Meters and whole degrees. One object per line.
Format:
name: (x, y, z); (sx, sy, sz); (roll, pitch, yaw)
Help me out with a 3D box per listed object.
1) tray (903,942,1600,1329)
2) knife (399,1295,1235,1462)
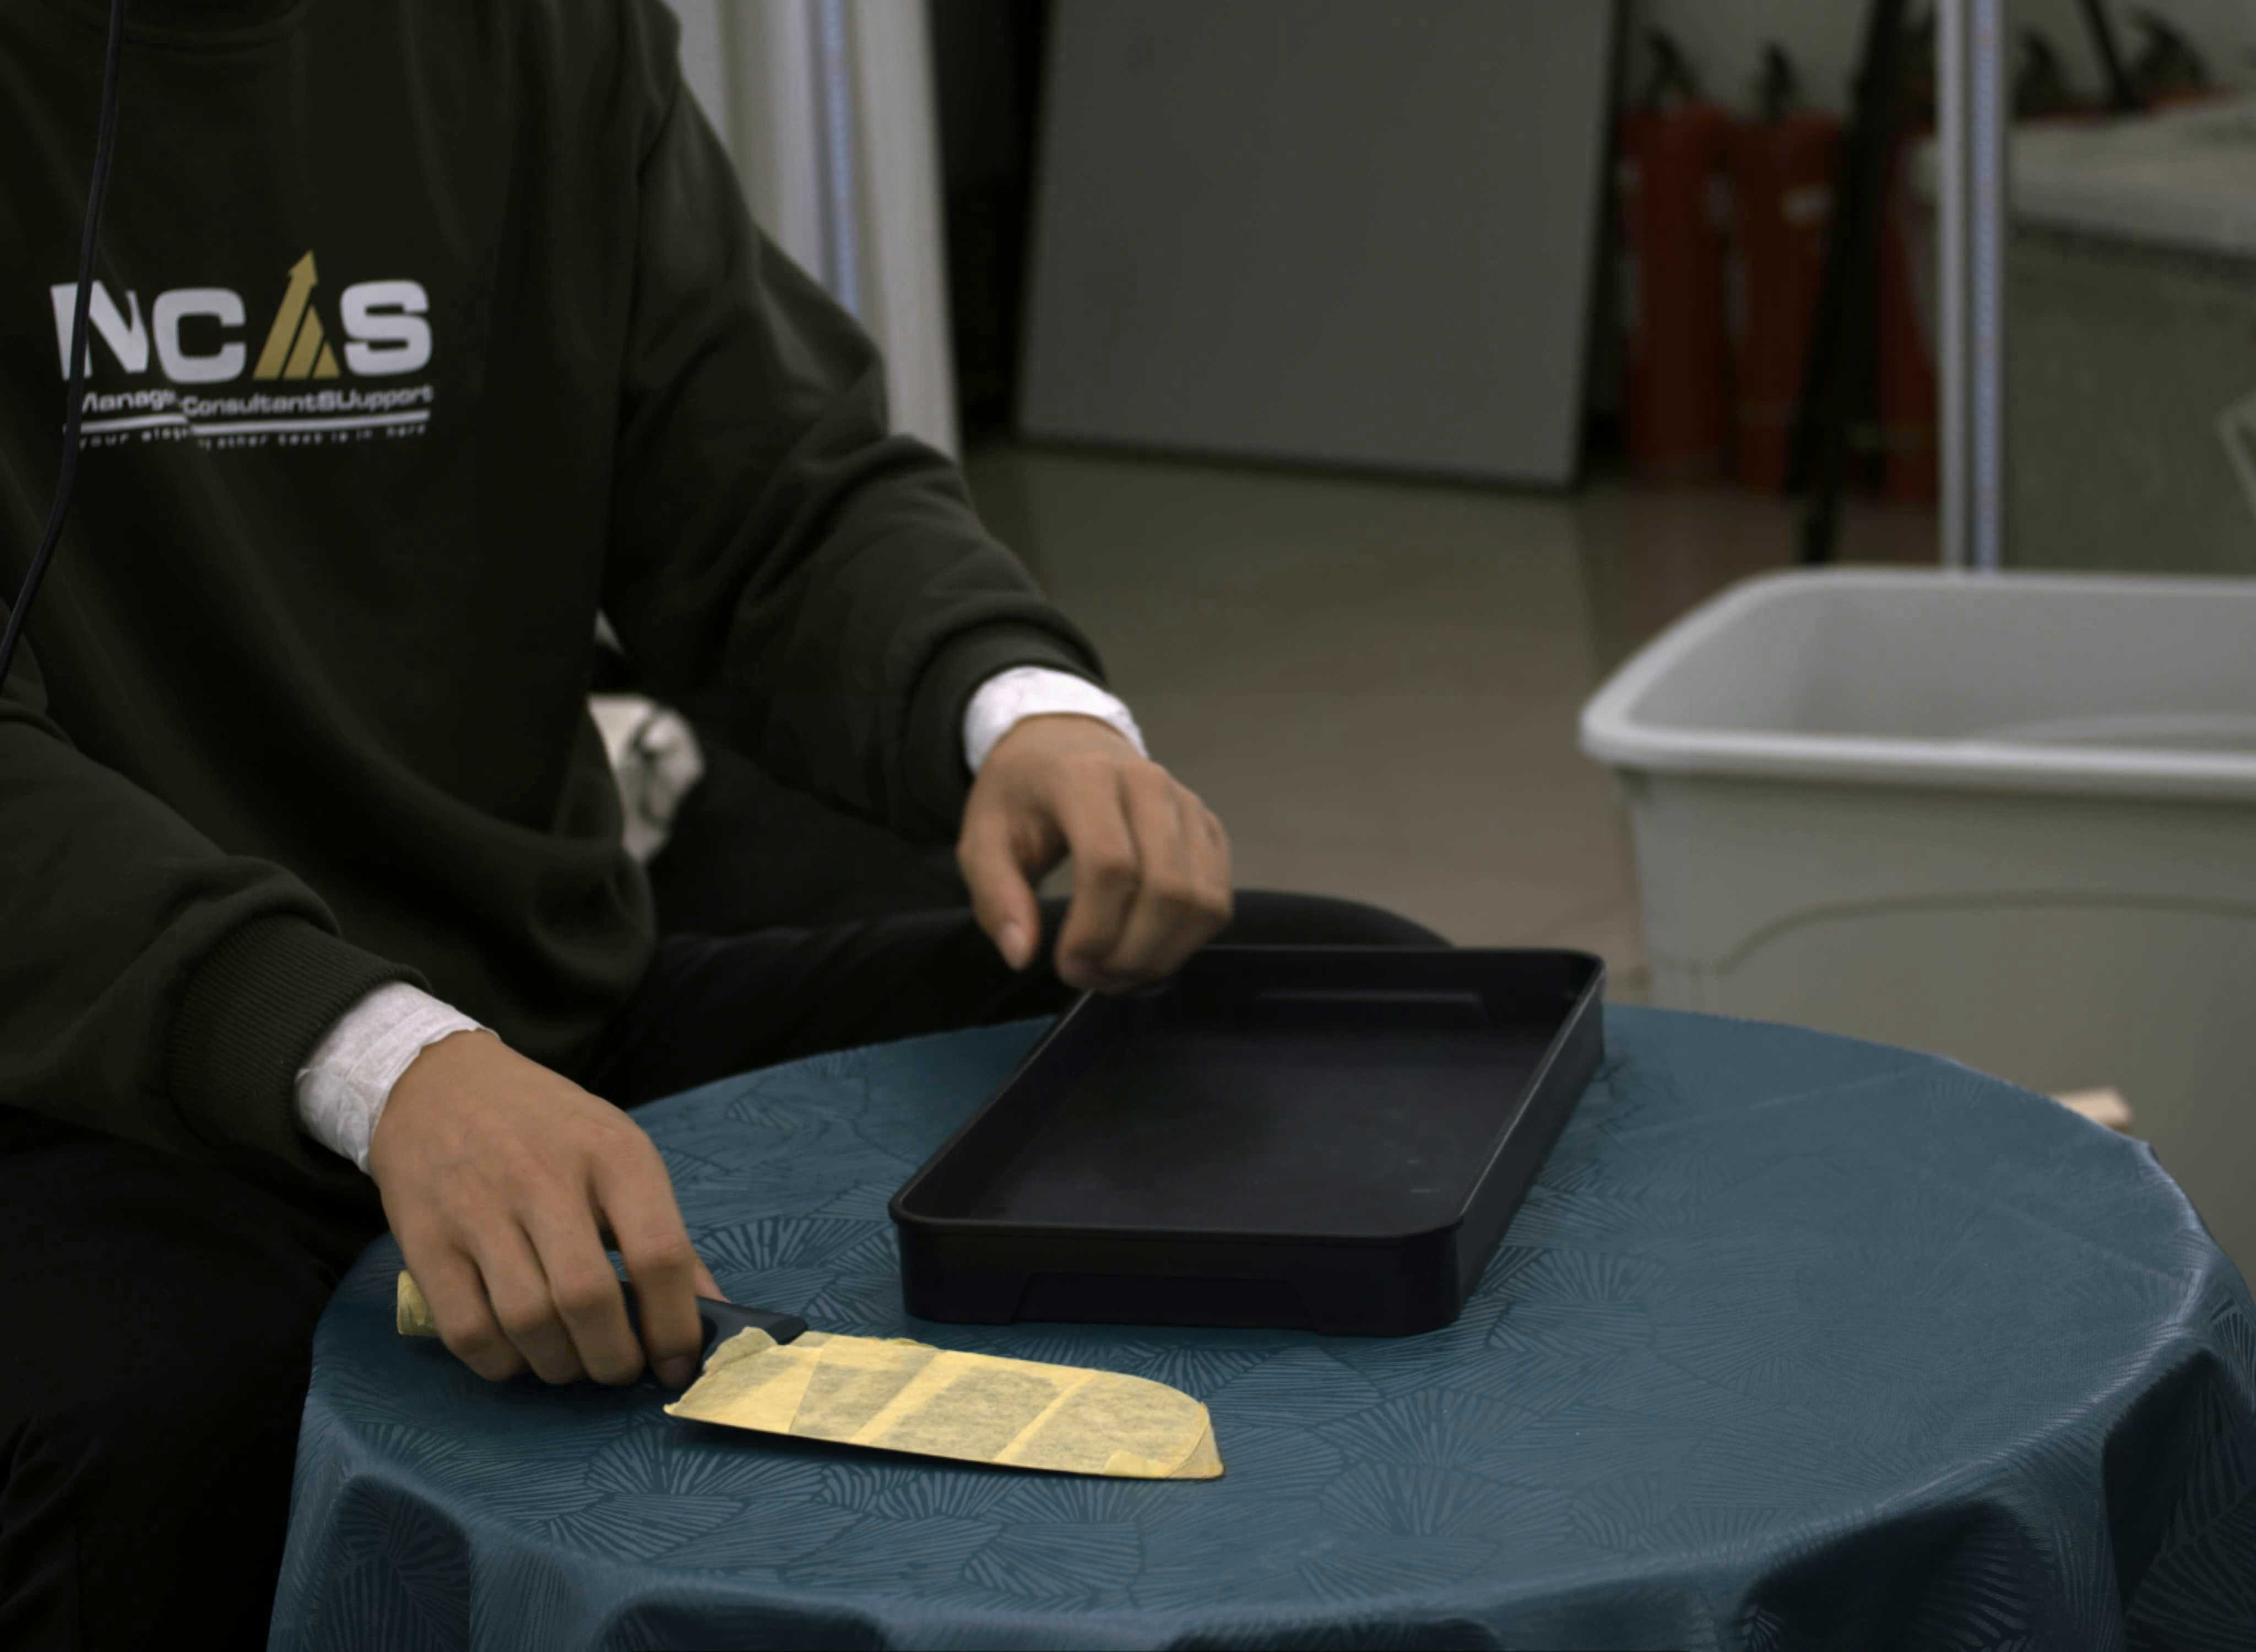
tray: (0.050, 0.098, 1.781); (0.183, 0.037, 0.316); (-1, 14, 14)
knife: (-0.099, 0.165, 1.591); (0.290, 0.027, 0.080); (4, 14, 27)
